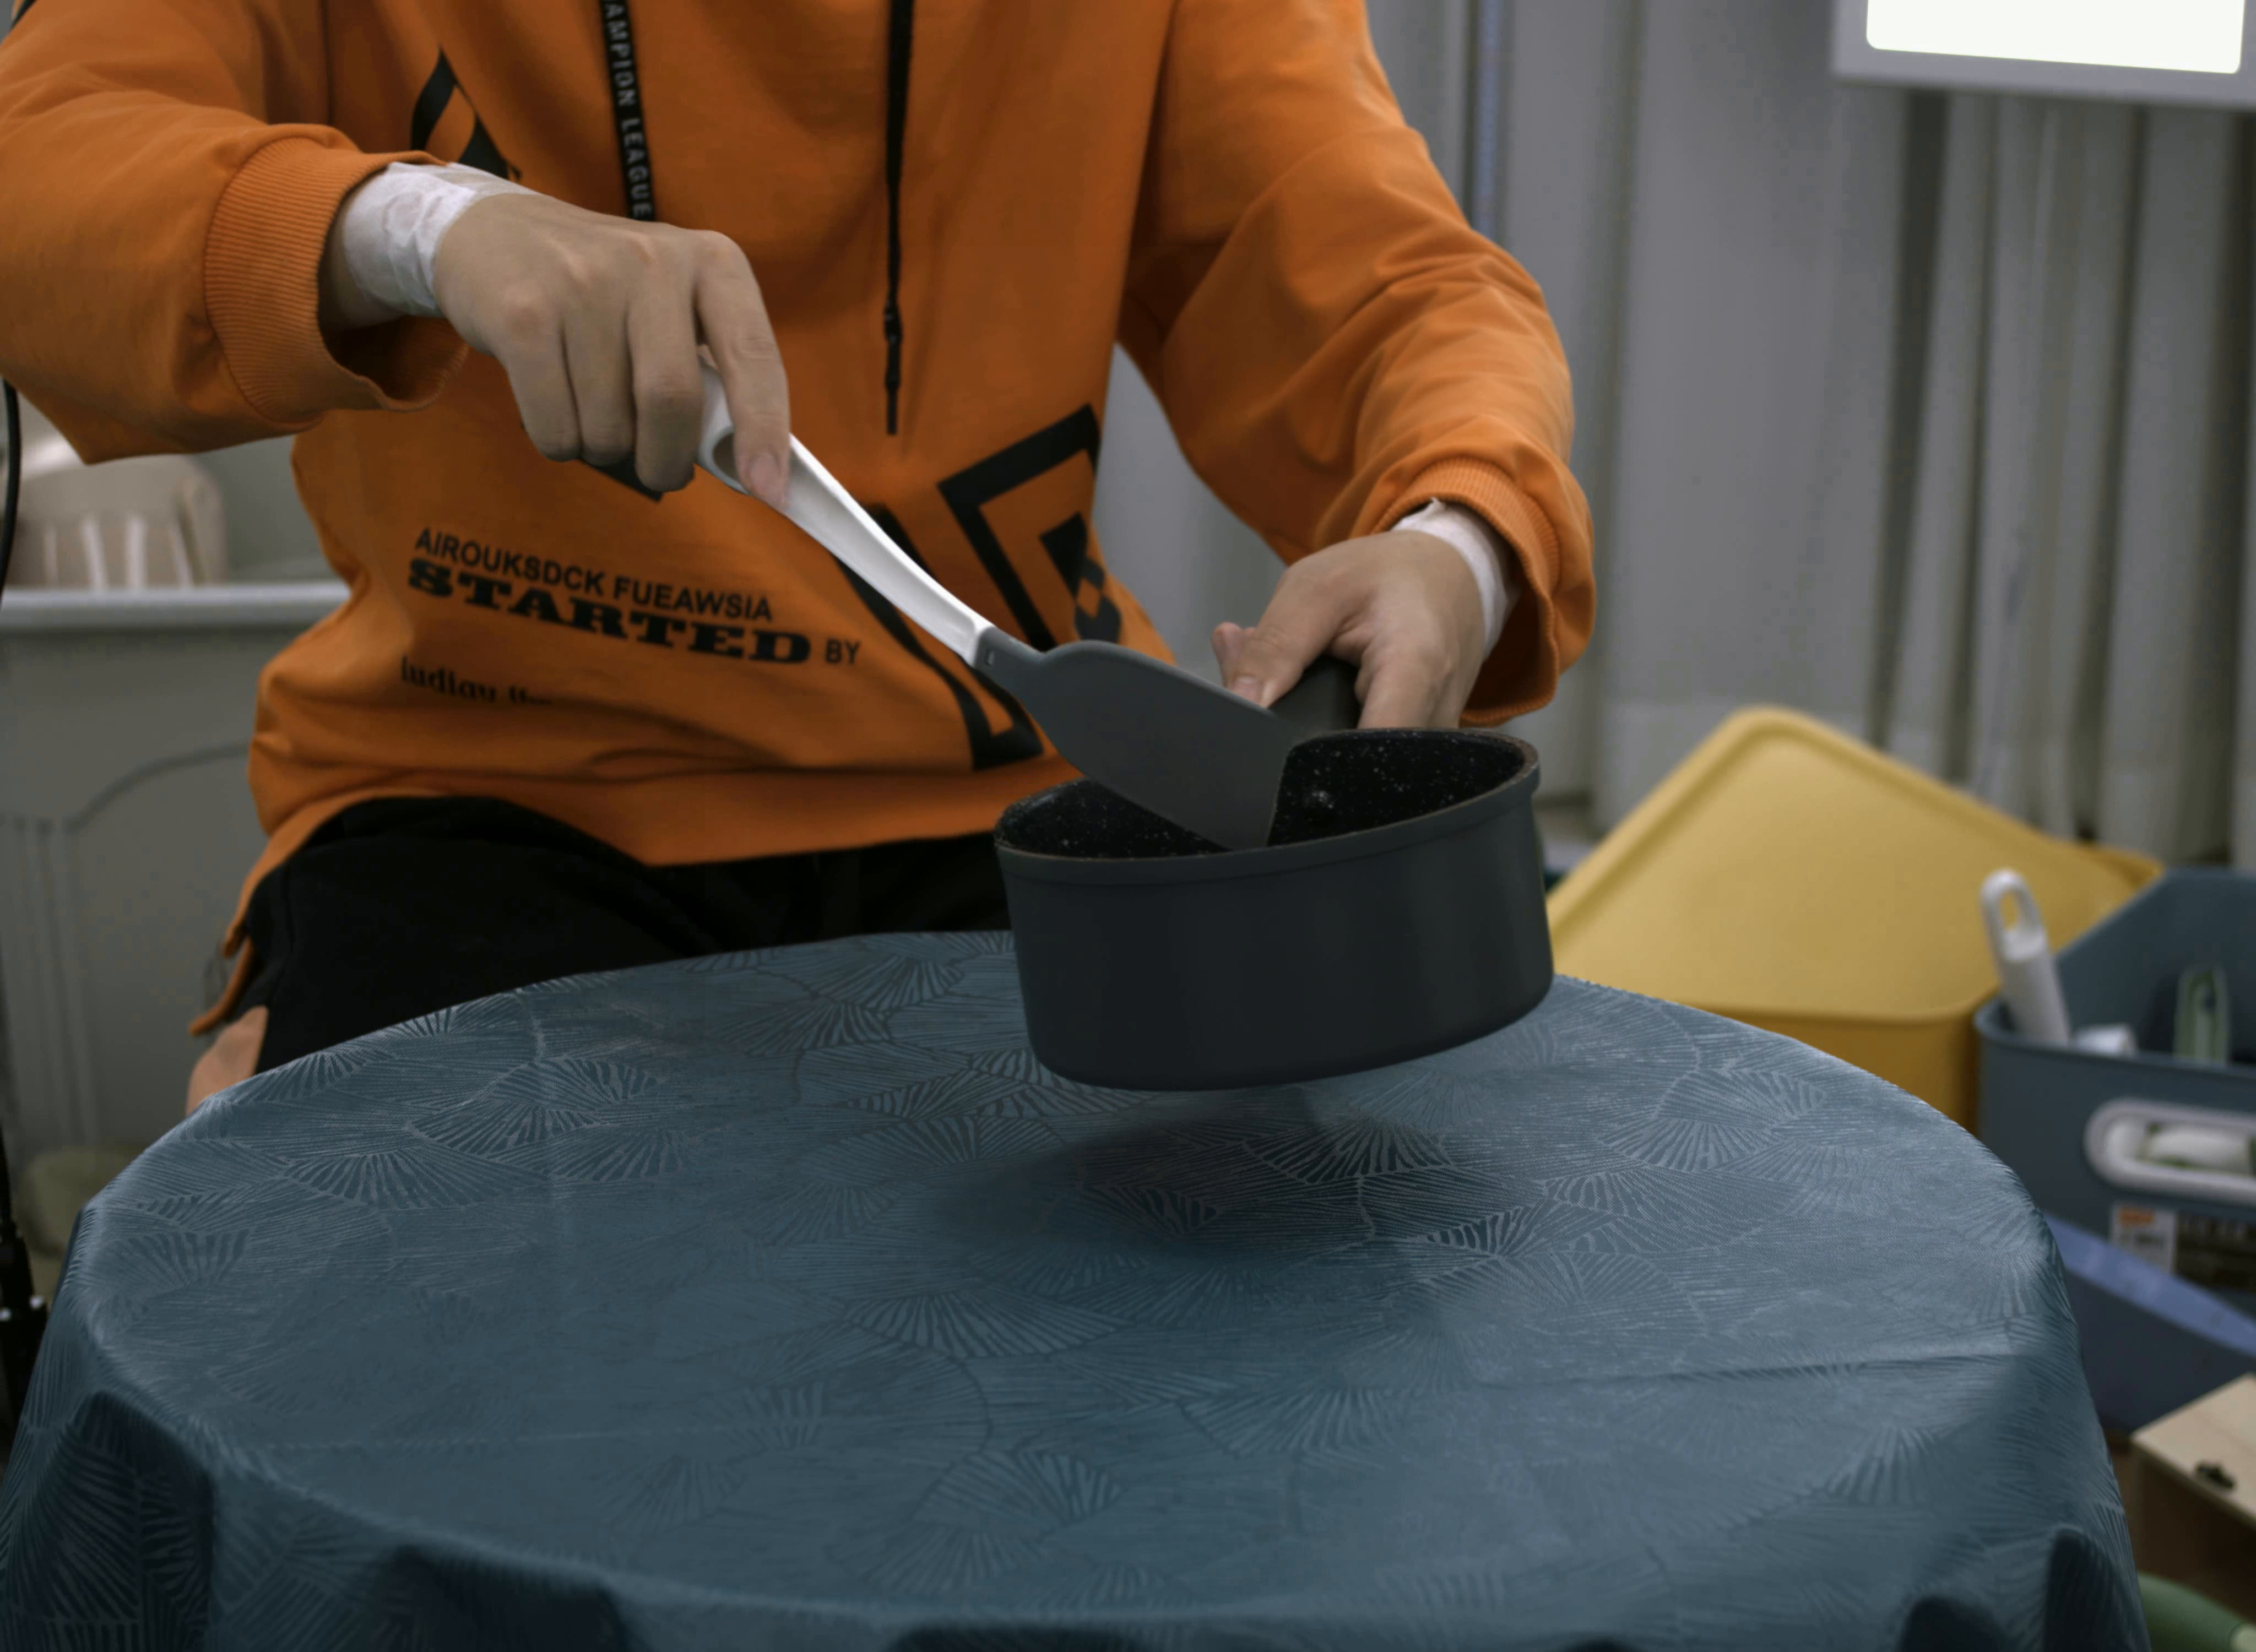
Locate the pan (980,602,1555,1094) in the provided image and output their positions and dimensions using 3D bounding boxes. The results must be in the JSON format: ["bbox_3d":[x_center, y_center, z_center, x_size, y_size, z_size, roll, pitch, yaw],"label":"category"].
[{"bbox_3d":[0.056,0.003,1.686,0.171,0.087,0.328,-5,13,10],"label":"pan"}]

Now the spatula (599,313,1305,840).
[{"bbox_3d":[-0.058,-0.077,1.622,0.284,0.059,0.032,36,37,28],"label":"spatula"}]
